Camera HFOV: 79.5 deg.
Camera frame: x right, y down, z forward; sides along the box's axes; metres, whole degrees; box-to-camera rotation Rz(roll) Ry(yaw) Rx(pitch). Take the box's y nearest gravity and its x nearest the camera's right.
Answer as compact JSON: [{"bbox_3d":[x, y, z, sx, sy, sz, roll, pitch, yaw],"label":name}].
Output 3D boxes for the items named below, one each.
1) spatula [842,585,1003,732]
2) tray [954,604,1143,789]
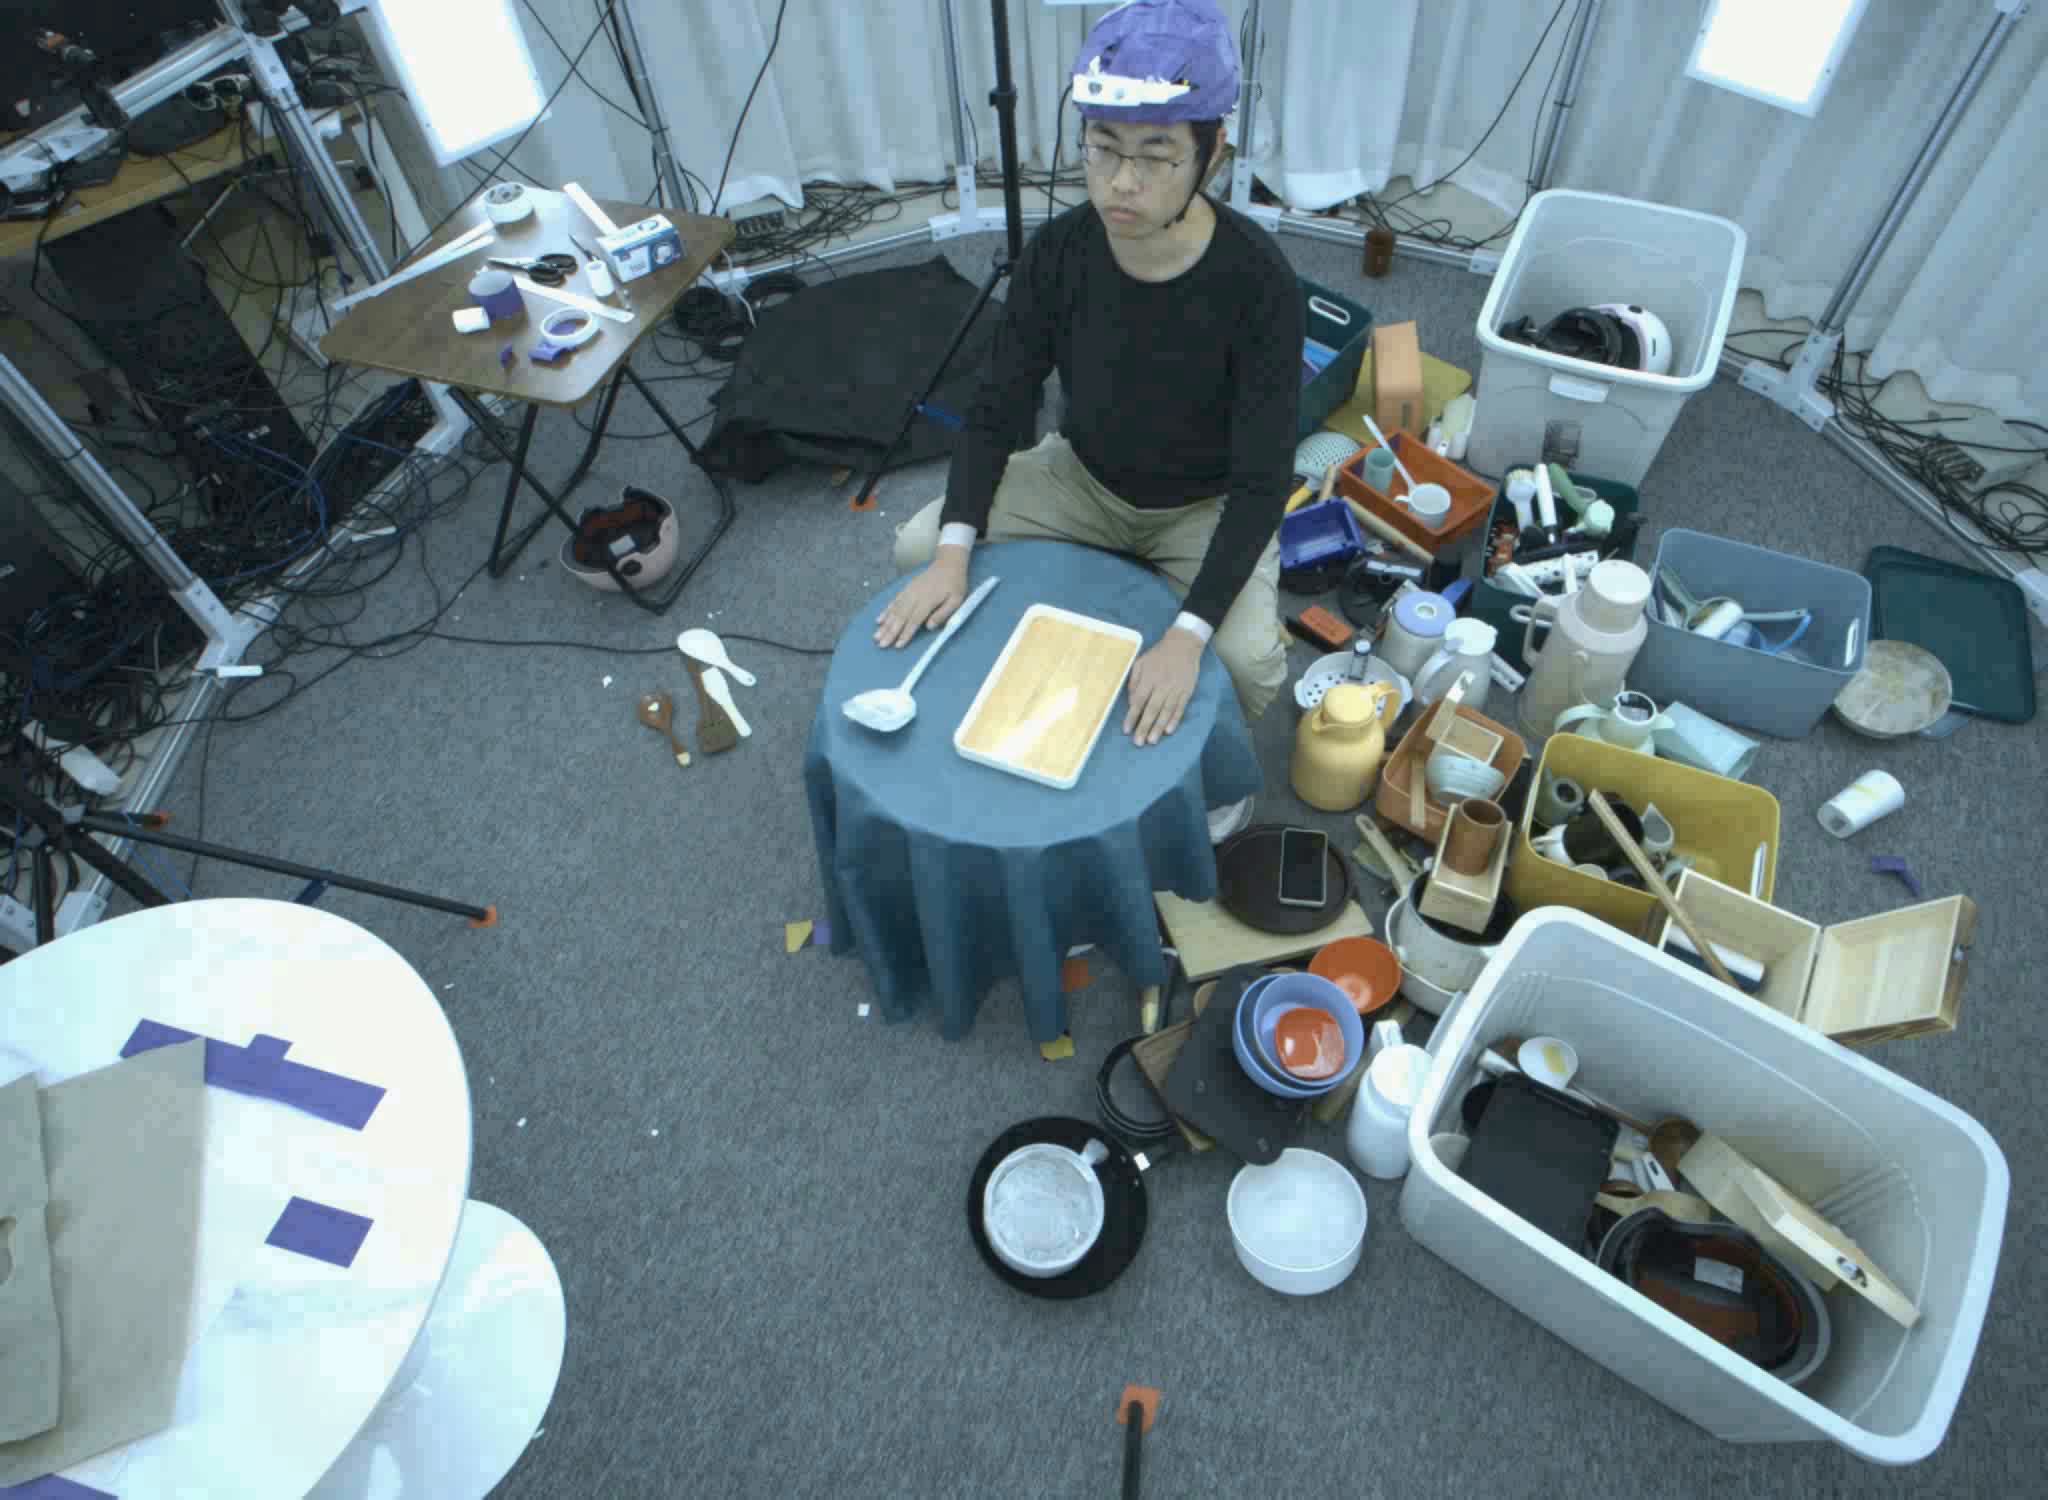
[{"bbox_3d":[-0.140,-0.154,1.877,0.097,0.045,0.366,25,59,19],"label":"spatula"},{"bbox_3d":[0.041,-0.086,1.830,0.189,0.028,0.300,19,57,15],"label":"tray"}]
